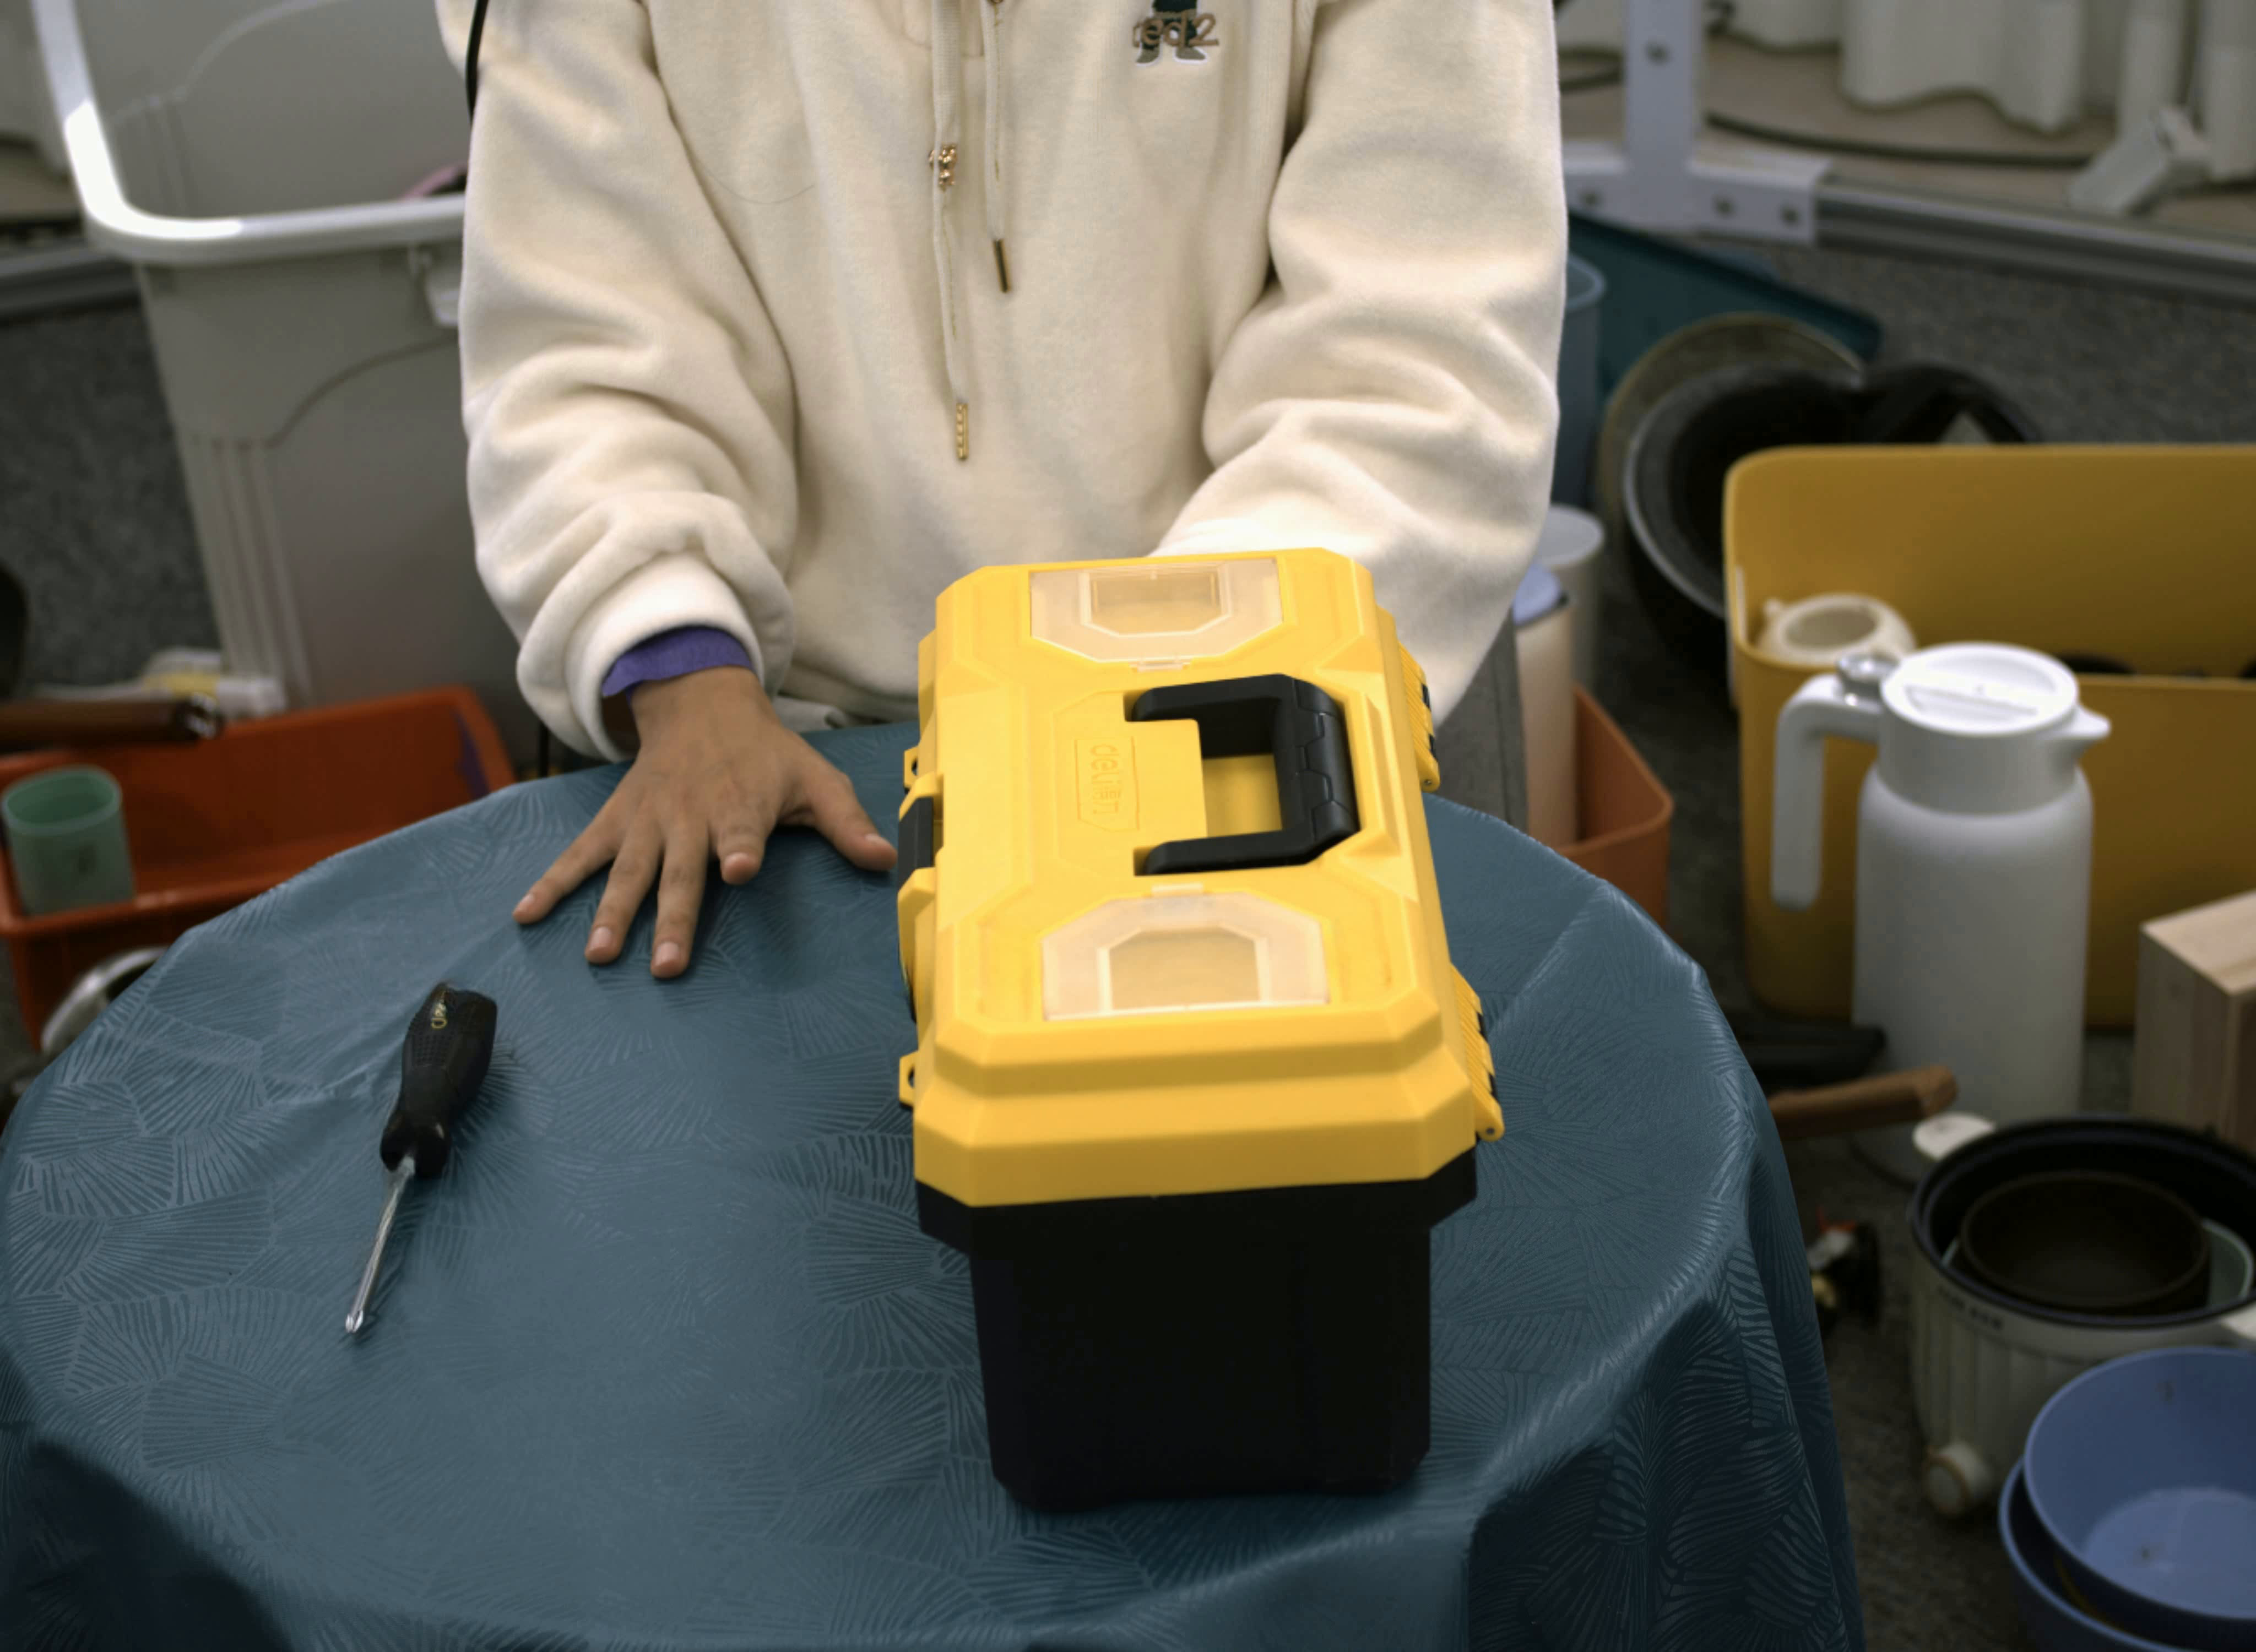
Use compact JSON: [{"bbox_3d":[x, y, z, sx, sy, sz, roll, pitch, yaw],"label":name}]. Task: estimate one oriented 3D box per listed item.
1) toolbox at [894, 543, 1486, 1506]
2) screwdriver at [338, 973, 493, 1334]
[{"bbox_3d":[0.017,0.056,1.799,0.180,0.171,0.357,-3,27,0],"label":"toolbox"},{"bbox_3d":[-0.242,0.108,1.878,0.031,0.031,0.199,1,29,7],"label":"screwdriver"}]
